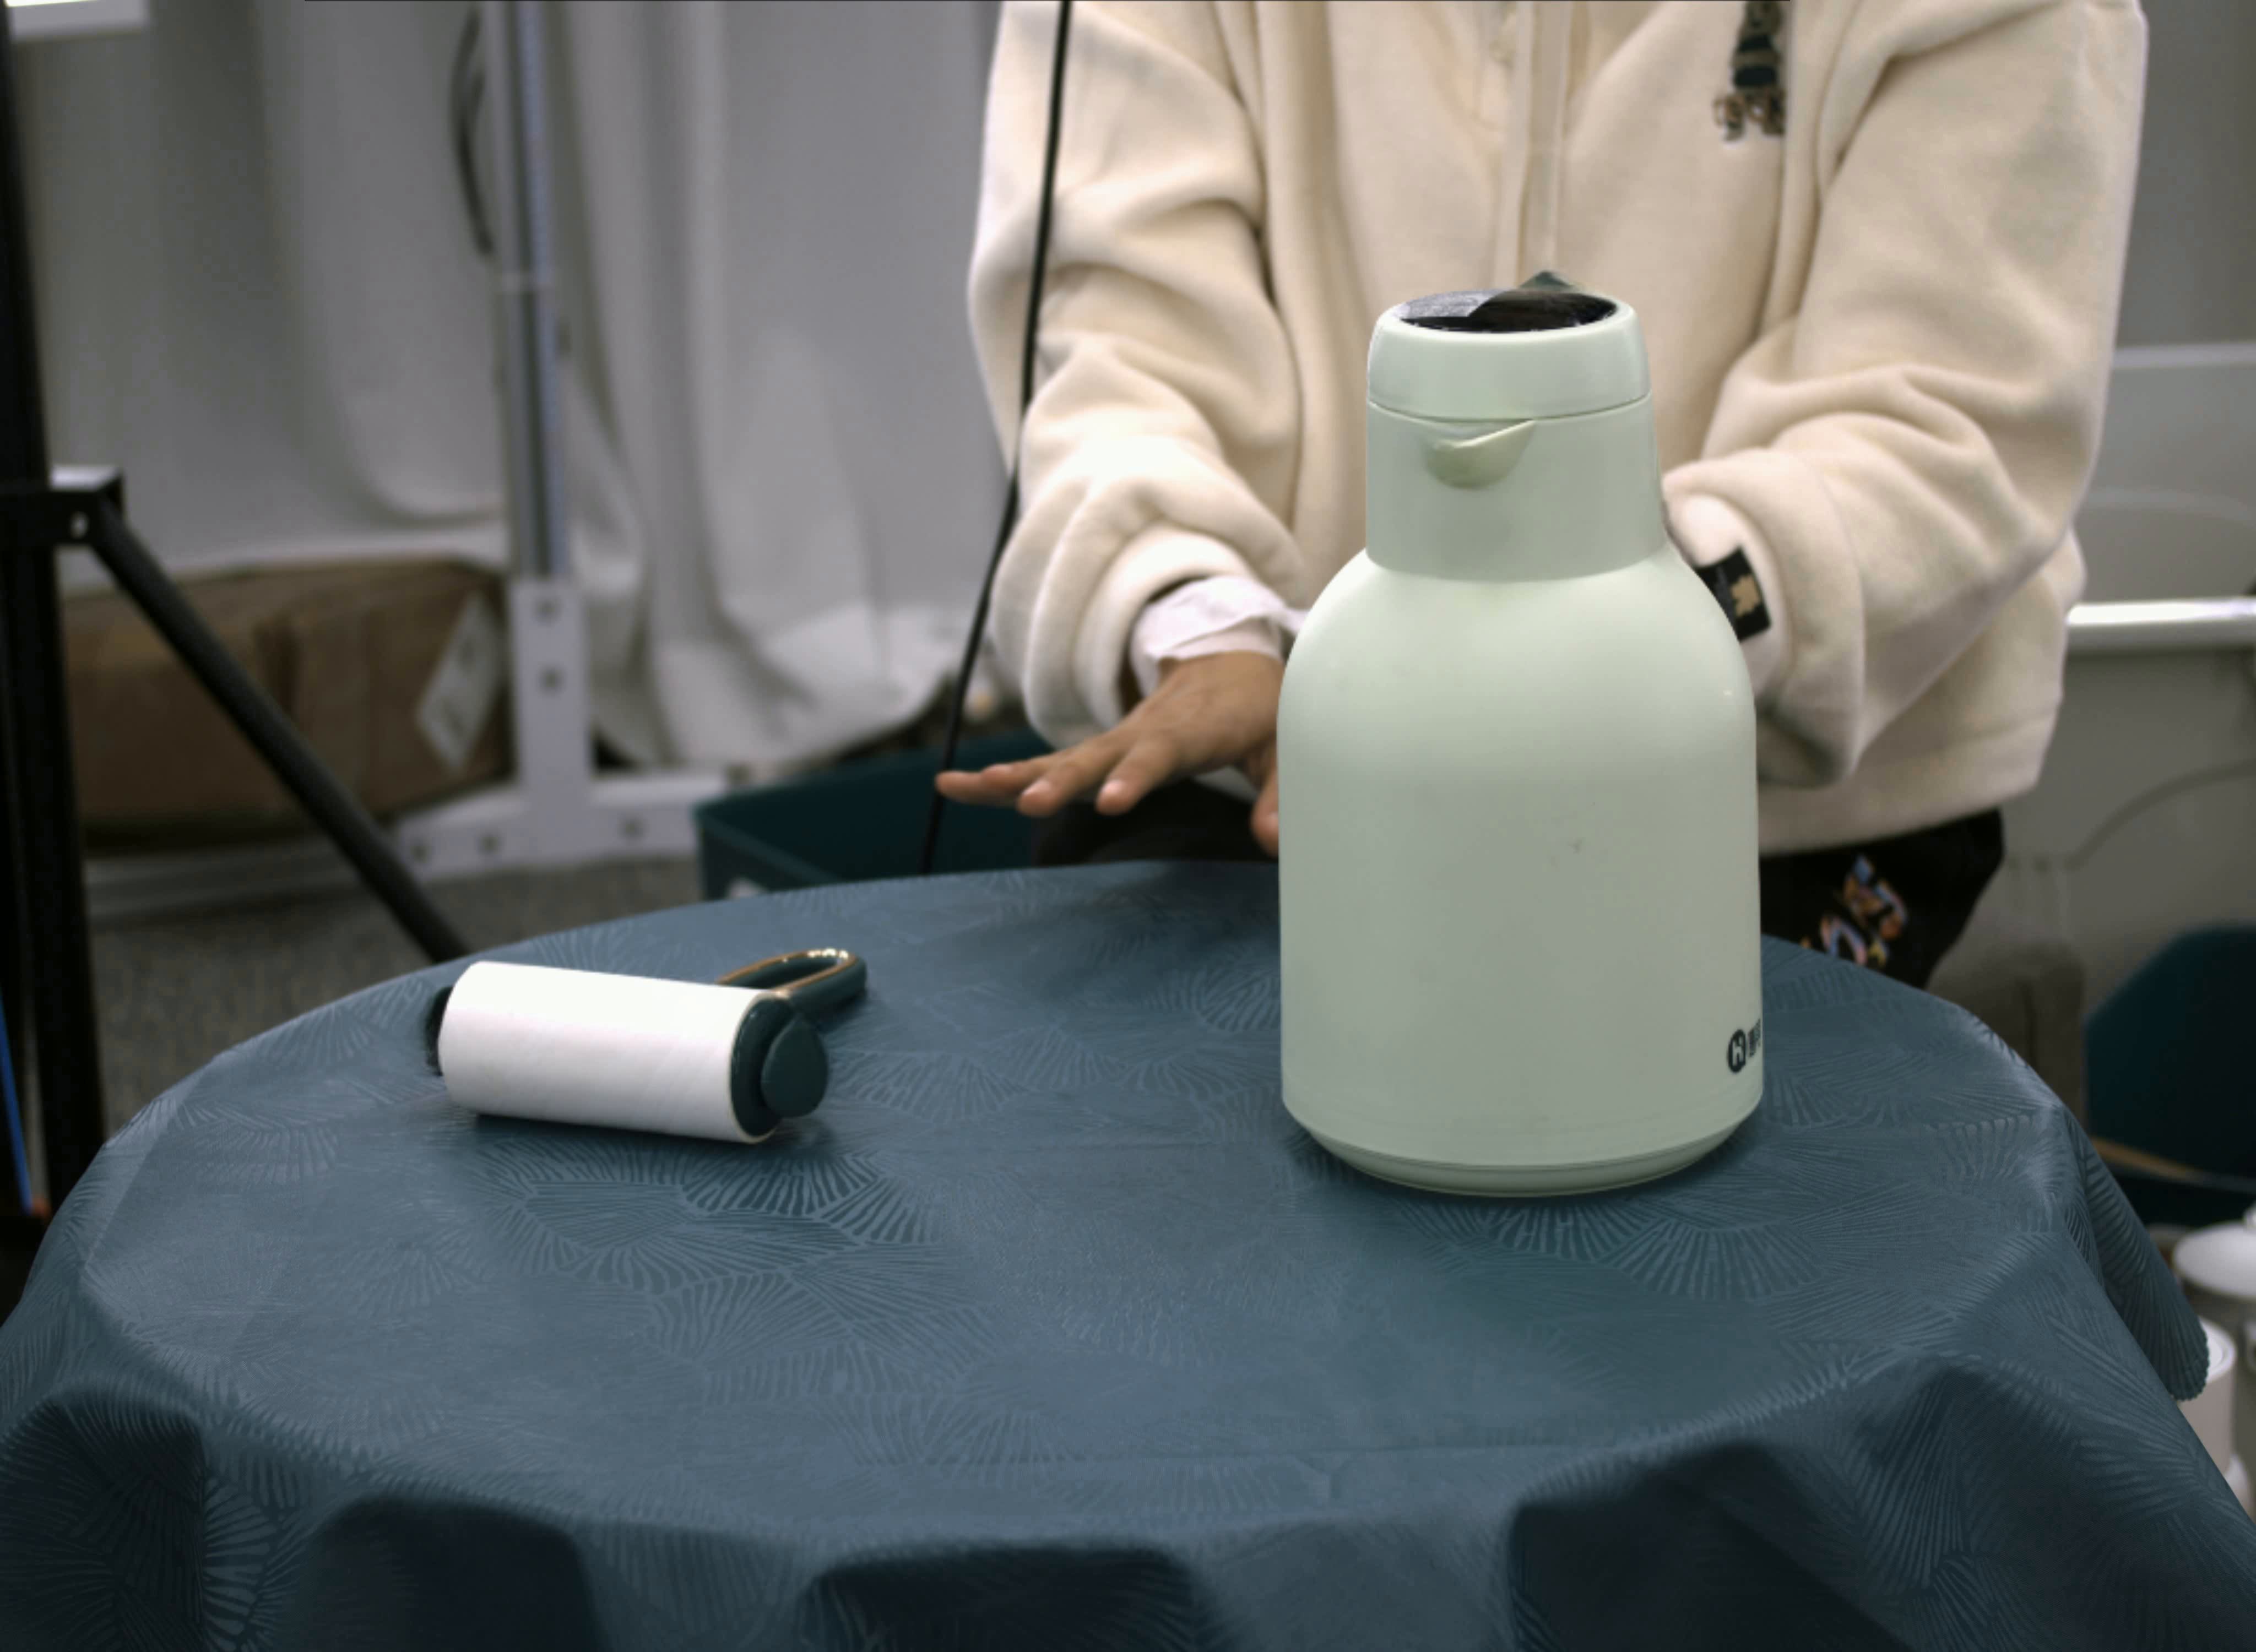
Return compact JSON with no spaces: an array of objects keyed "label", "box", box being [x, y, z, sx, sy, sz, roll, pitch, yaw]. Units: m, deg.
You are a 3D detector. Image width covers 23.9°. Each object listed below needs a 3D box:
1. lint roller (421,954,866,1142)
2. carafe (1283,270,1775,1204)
[{"label":"lint roller","box":[-0.129,0.051,1.692,0.136,0.048,0.177,5,18,24]},{"label":"carafe","box":[0.121,-0.030,1.571,0.146,0.257,0.184,3,12,23]}]
